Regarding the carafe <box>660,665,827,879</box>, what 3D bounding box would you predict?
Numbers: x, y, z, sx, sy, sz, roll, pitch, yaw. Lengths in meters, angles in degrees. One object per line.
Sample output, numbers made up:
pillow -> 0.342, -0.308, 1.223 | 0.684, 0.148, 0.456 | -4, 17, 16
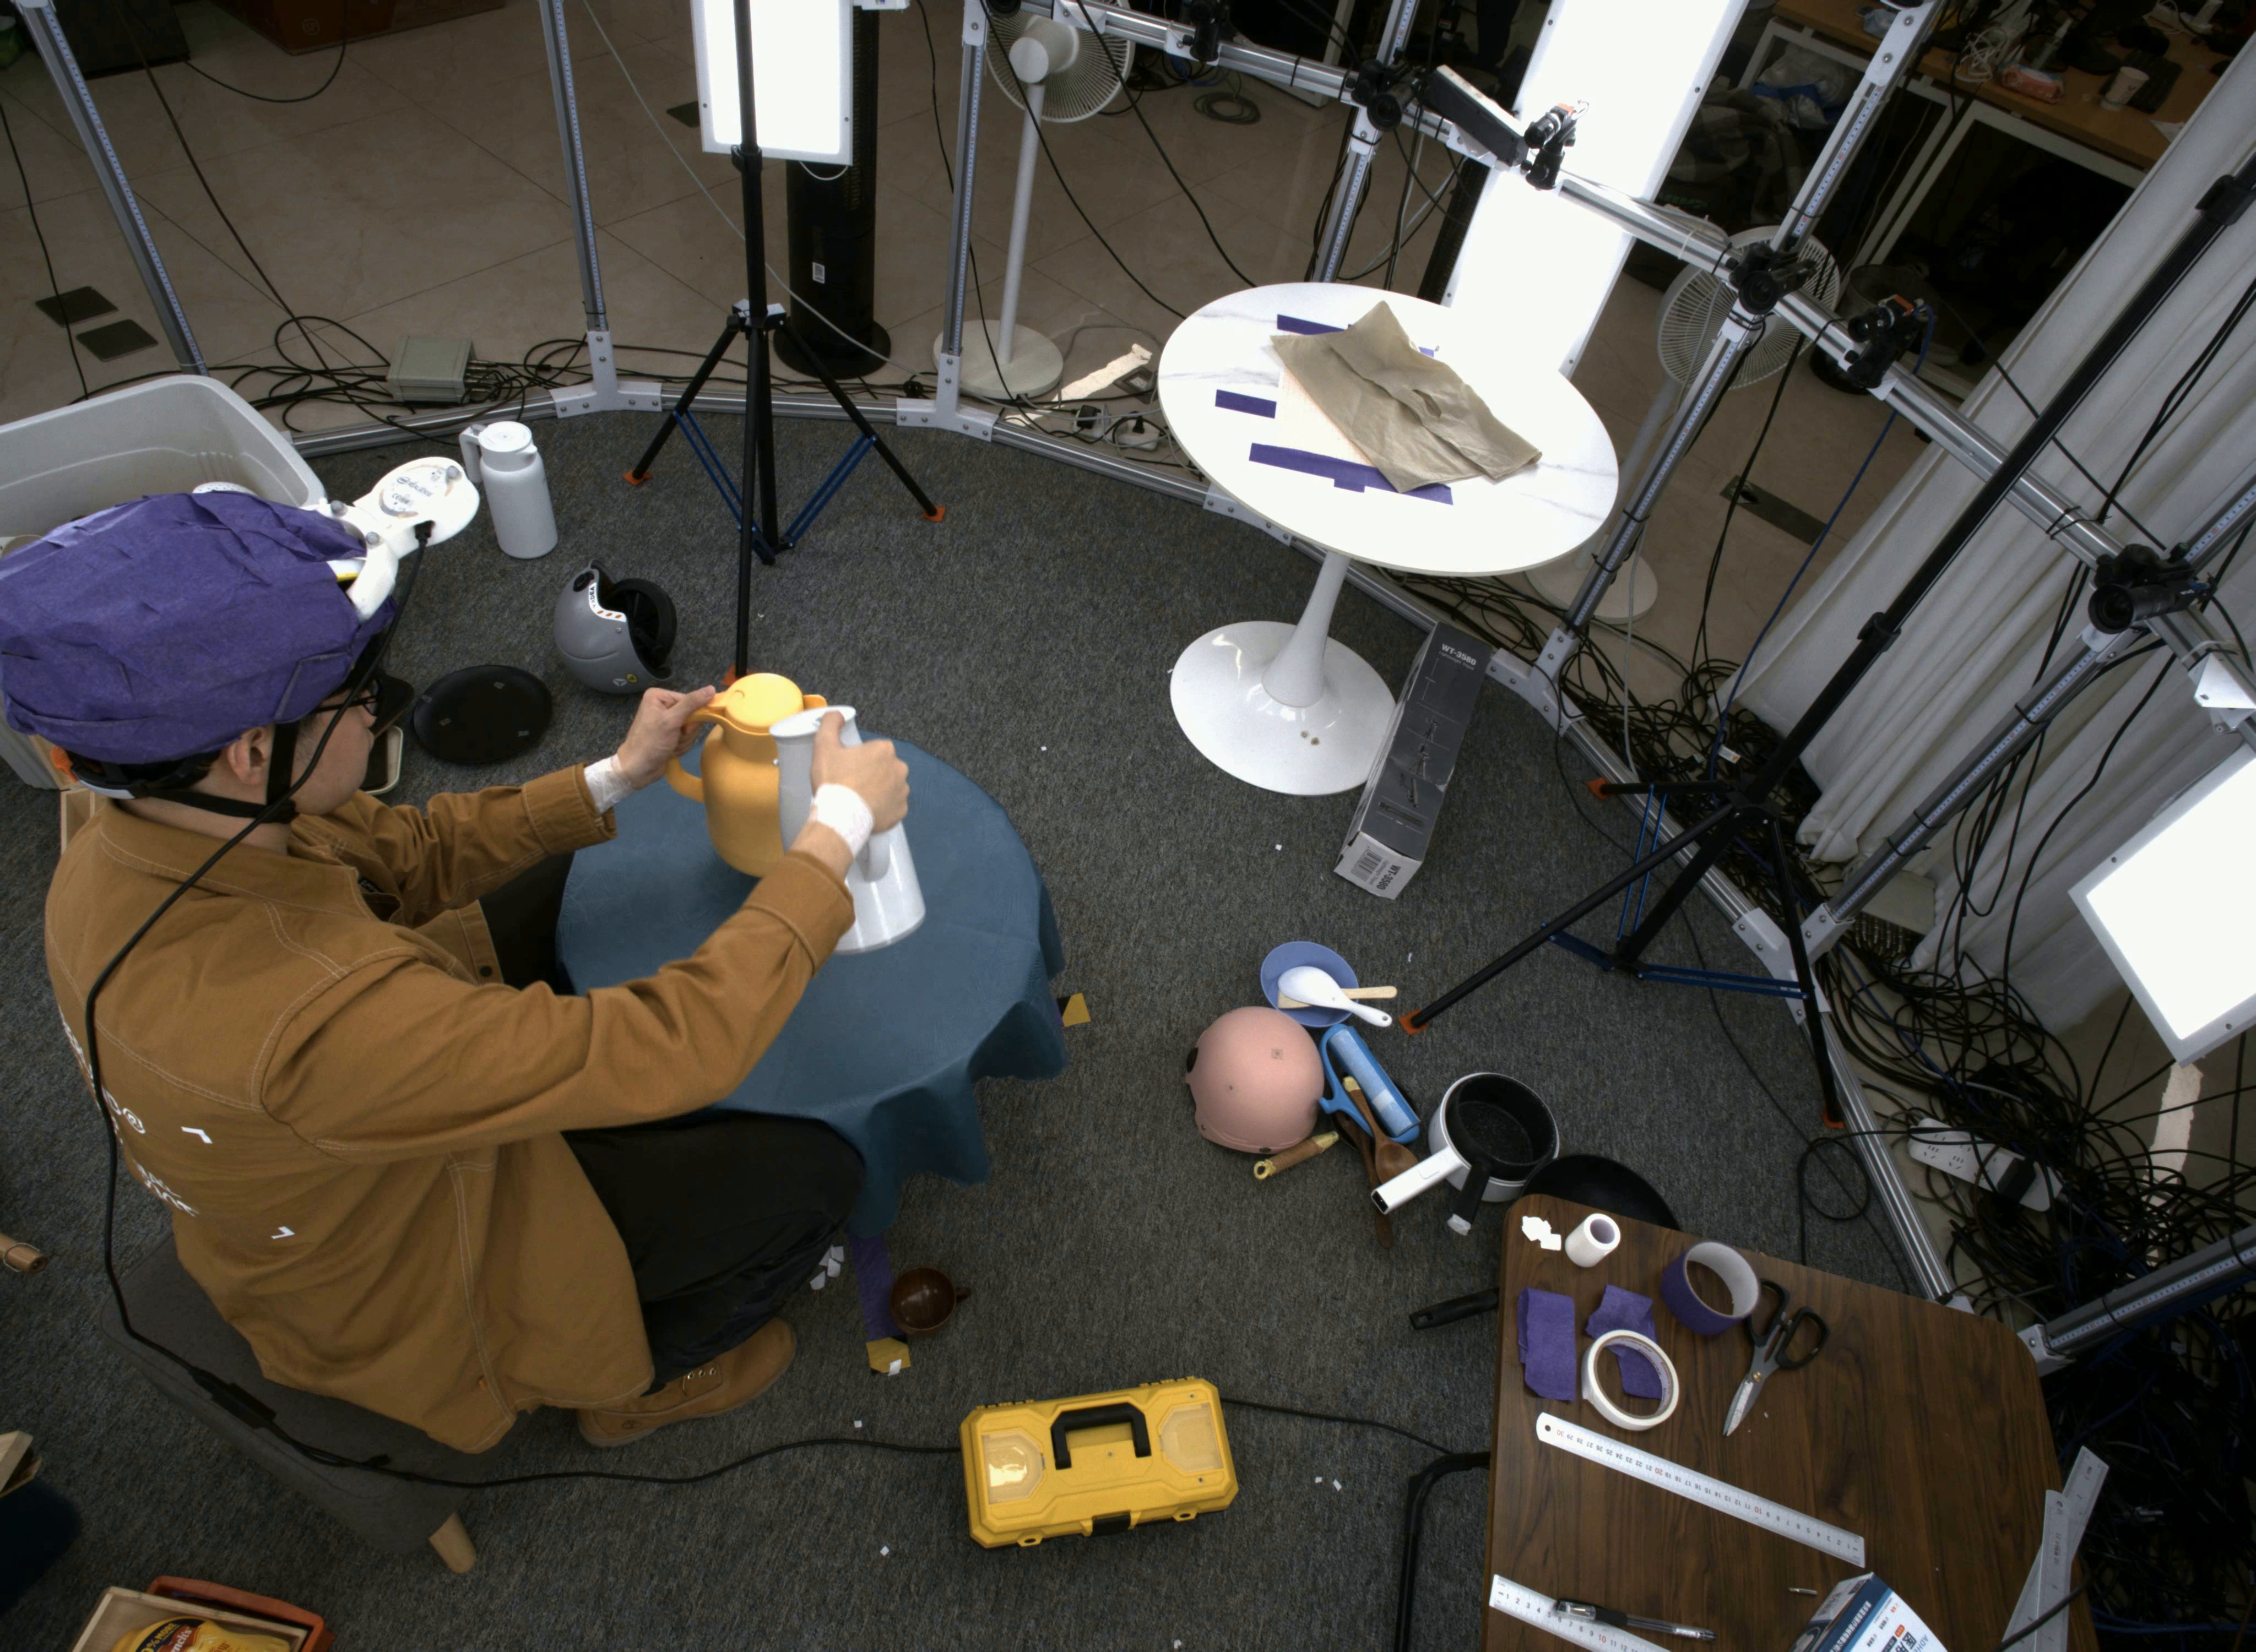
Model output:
carafe -> -0.453, -0.072, 1.550 | 0.202, 0.266, 0.159 | 0, 48, -13

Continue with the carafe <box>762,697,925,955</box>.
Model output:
carafe -> -0.295, -0.004, 1.351 | 0.133, 0.256, 0.161 | -25, 27, -31
